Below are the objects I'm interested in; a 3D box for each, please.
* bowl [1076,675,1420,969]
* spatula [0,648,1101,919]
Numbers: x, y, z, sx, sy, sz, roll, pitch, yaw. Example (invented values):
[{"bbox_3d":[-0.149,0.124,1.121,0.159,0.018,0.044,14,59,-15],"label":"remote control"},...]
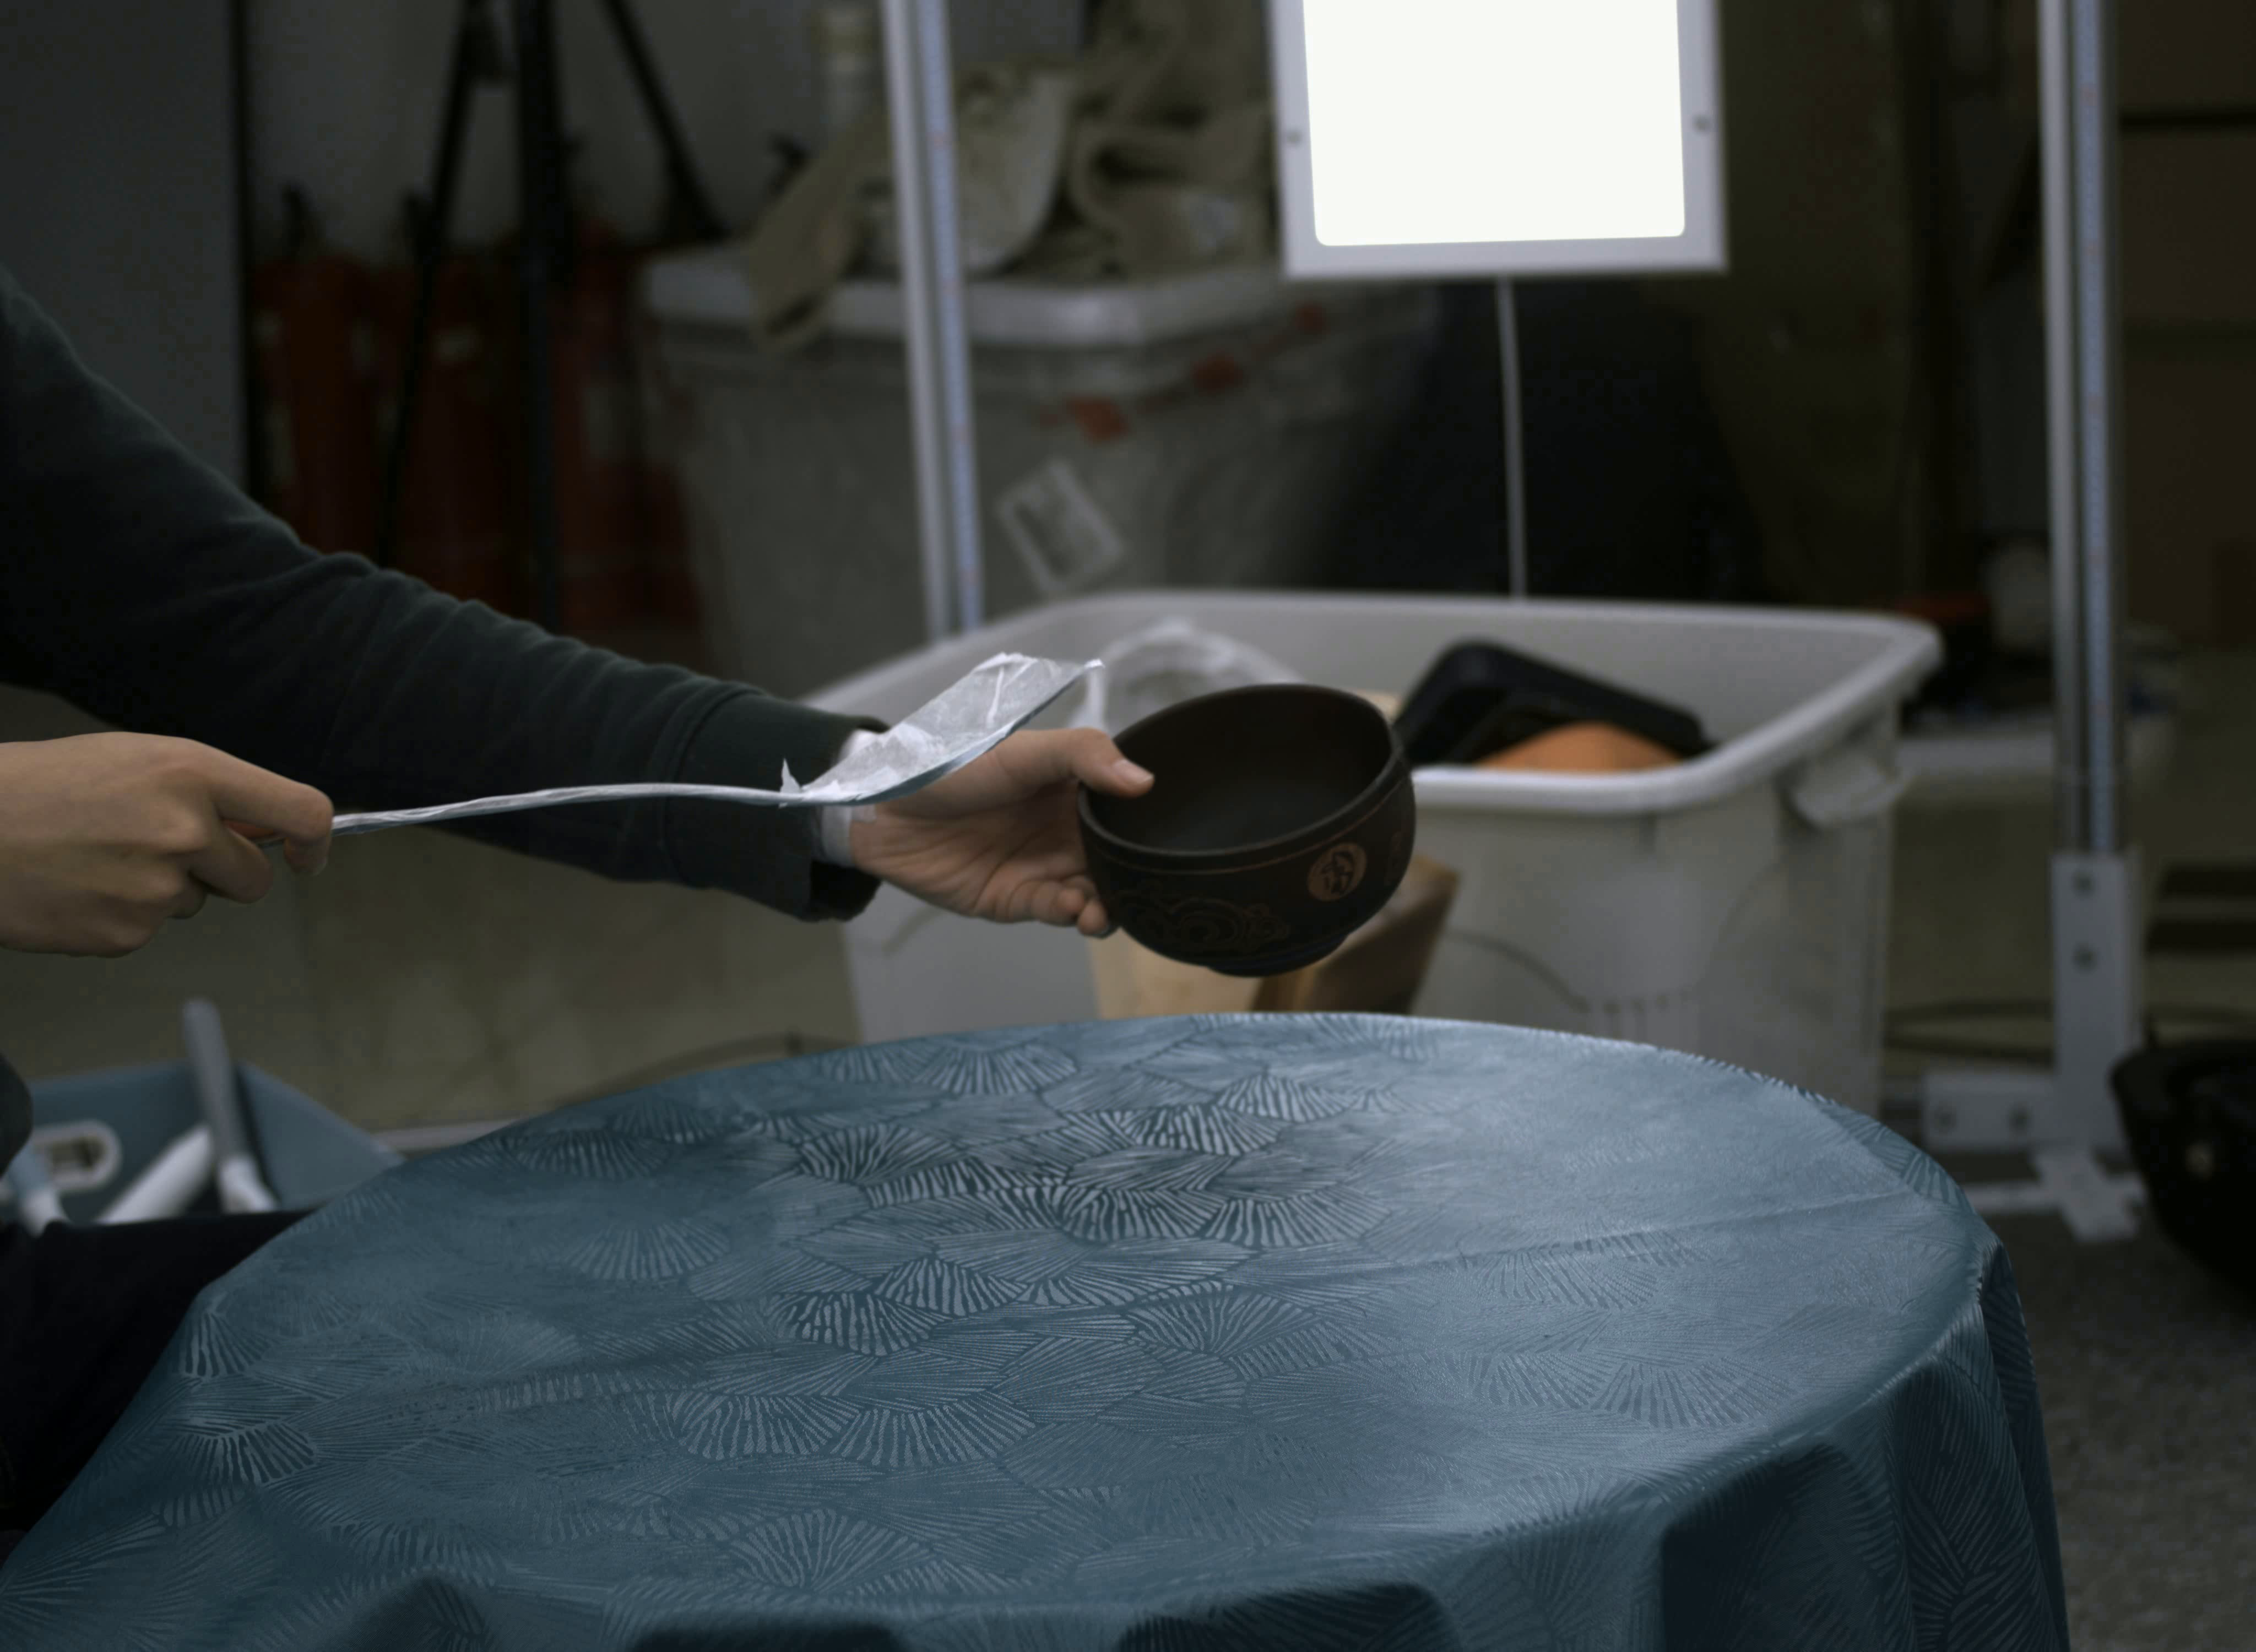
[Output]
[{"bbox_3d":[0.045,0.006,1.899,0.118,0.070,0.118,-12,28,5],"label":"bowl"},{"bbox_3d":[-0.182,-0.013,1.735,0.358,0.045,0.100,-8,7,-18],"label":"spatula"}]
